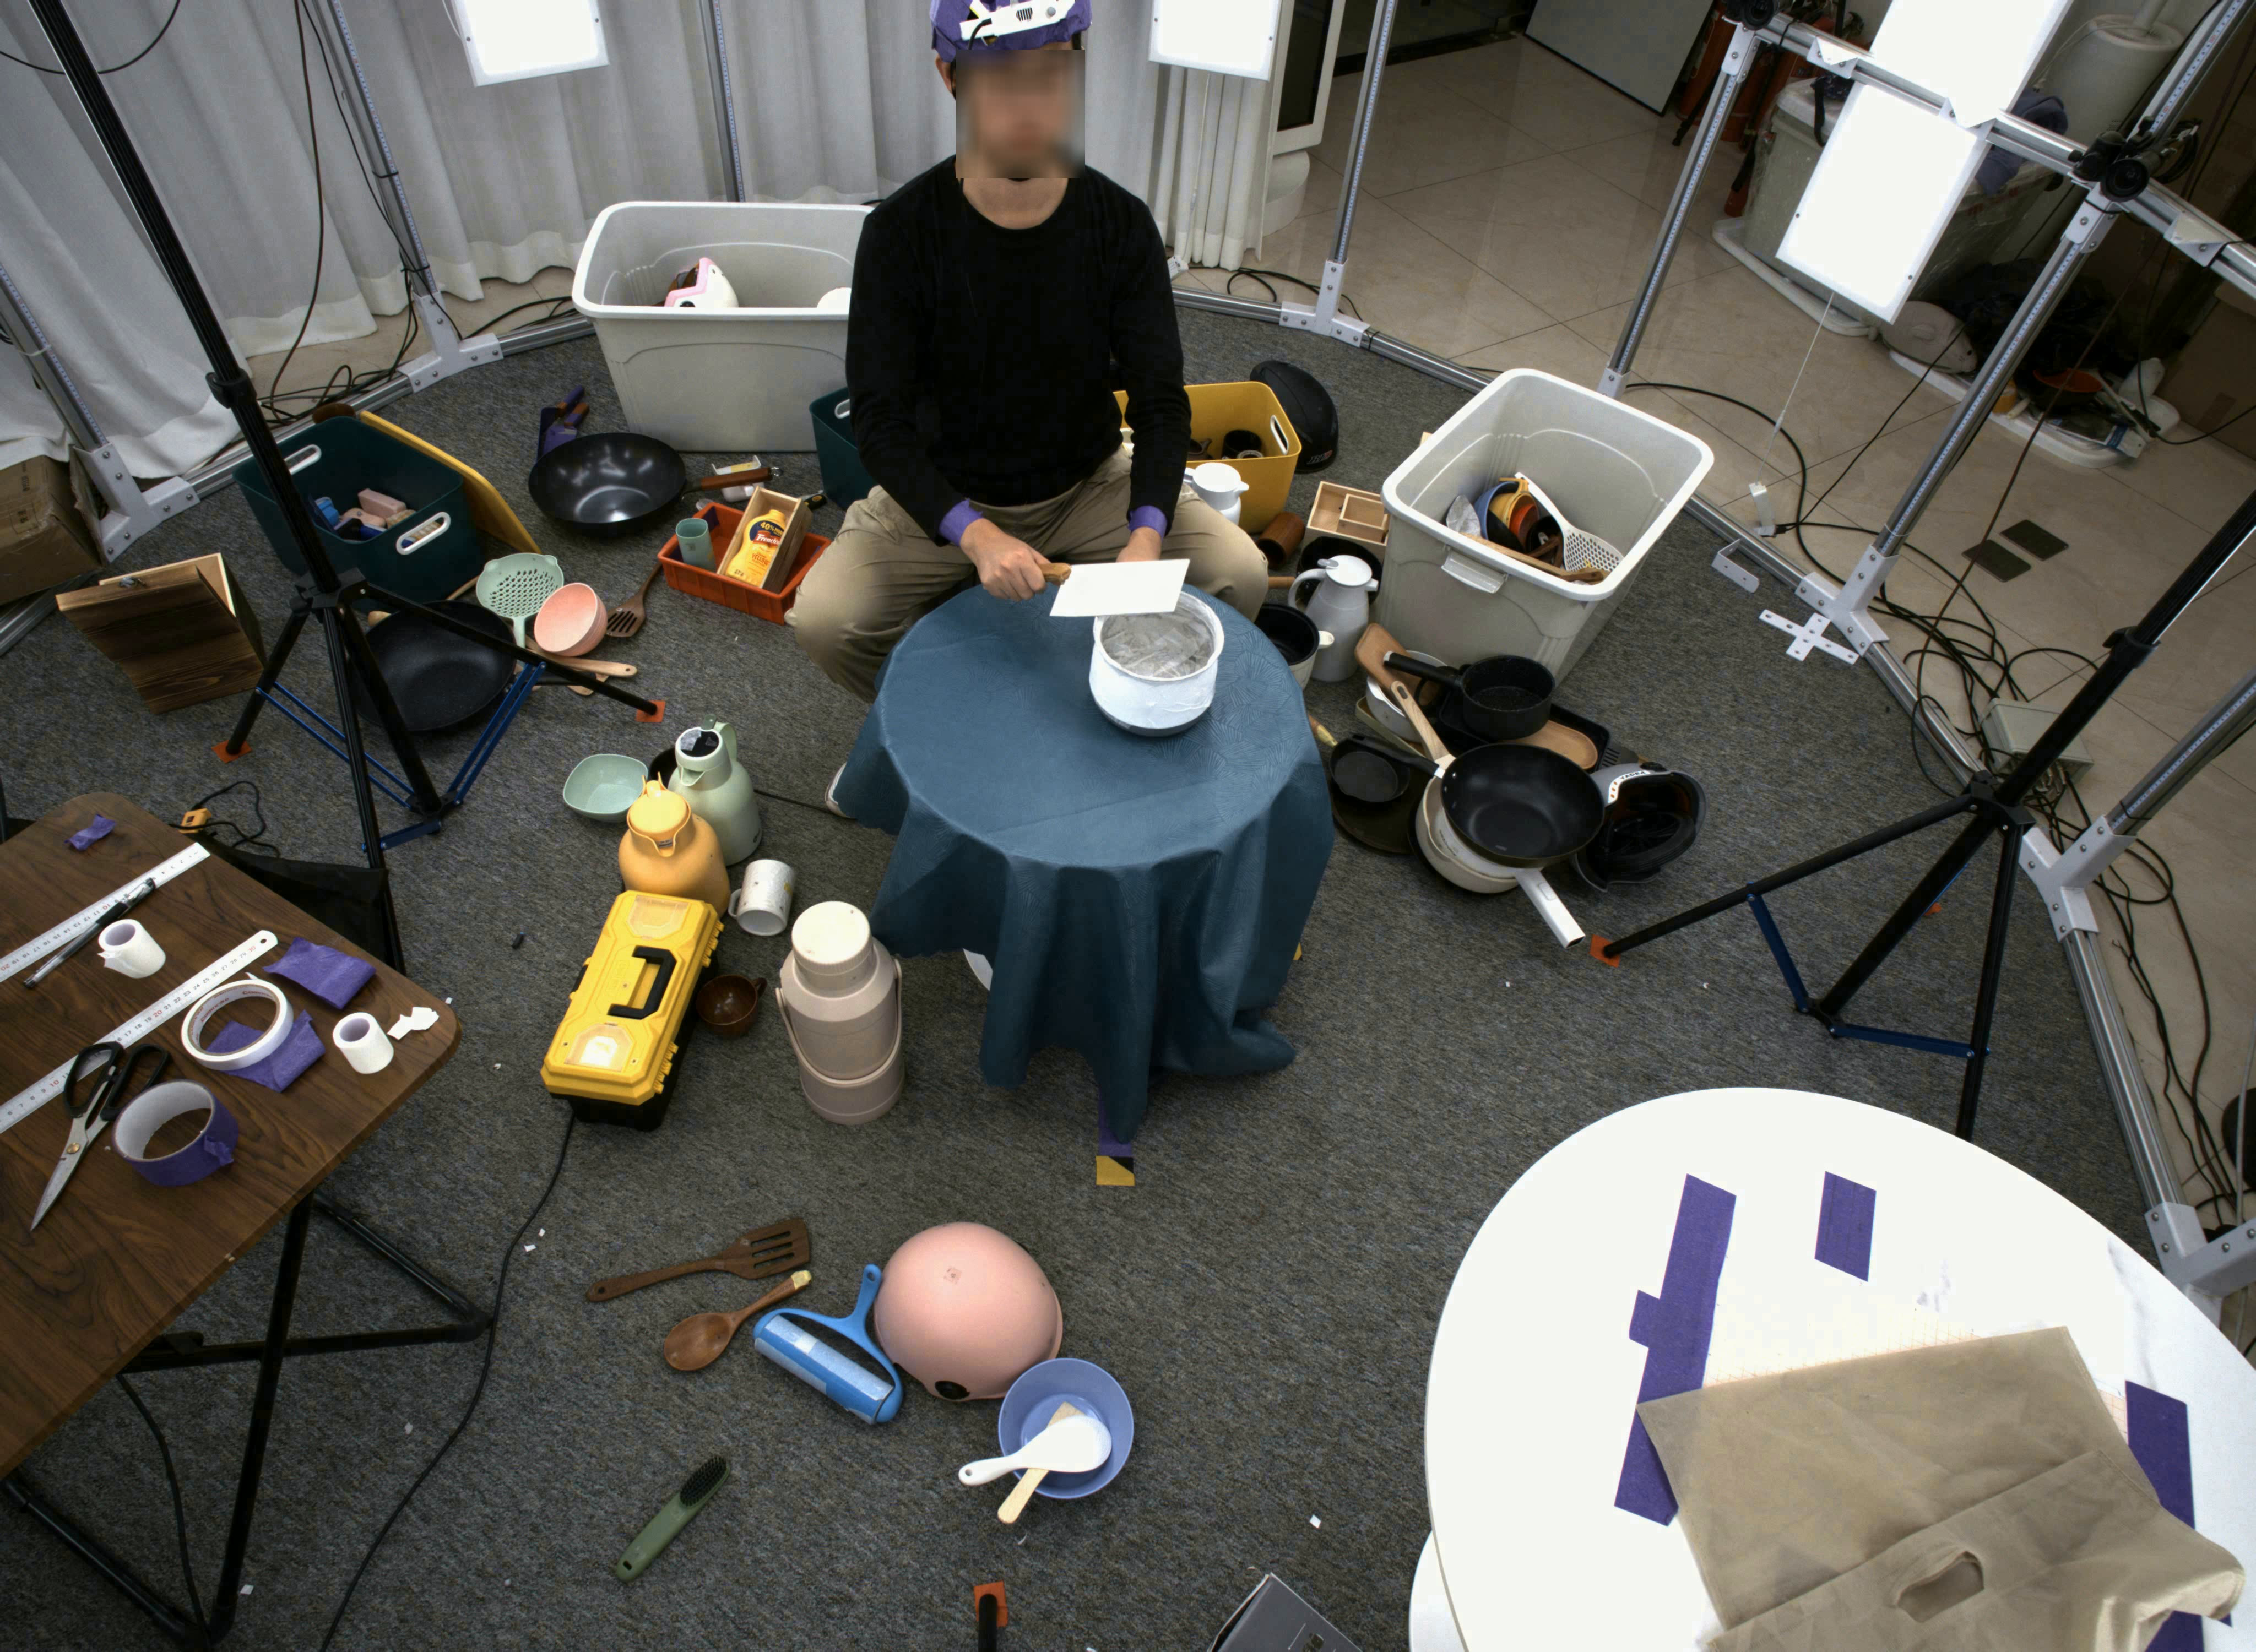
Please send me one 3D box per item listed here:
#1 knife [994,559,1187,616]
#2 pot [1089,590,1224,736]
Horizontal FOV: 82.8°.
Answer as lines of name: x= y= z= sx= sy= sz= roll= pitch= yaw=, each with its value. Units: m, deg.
knife: x=-0.062 y=-0.328 z=1.777 sx=0.307 sy=0.020 sz=0.094 roll=3 pitch=59 yaw=29
pot: x=0.030 y=-0.246 z=1.788 sx=0.178 sy=0.133 sz=0.239 roll=-8 pitch=54 yaw=-11
